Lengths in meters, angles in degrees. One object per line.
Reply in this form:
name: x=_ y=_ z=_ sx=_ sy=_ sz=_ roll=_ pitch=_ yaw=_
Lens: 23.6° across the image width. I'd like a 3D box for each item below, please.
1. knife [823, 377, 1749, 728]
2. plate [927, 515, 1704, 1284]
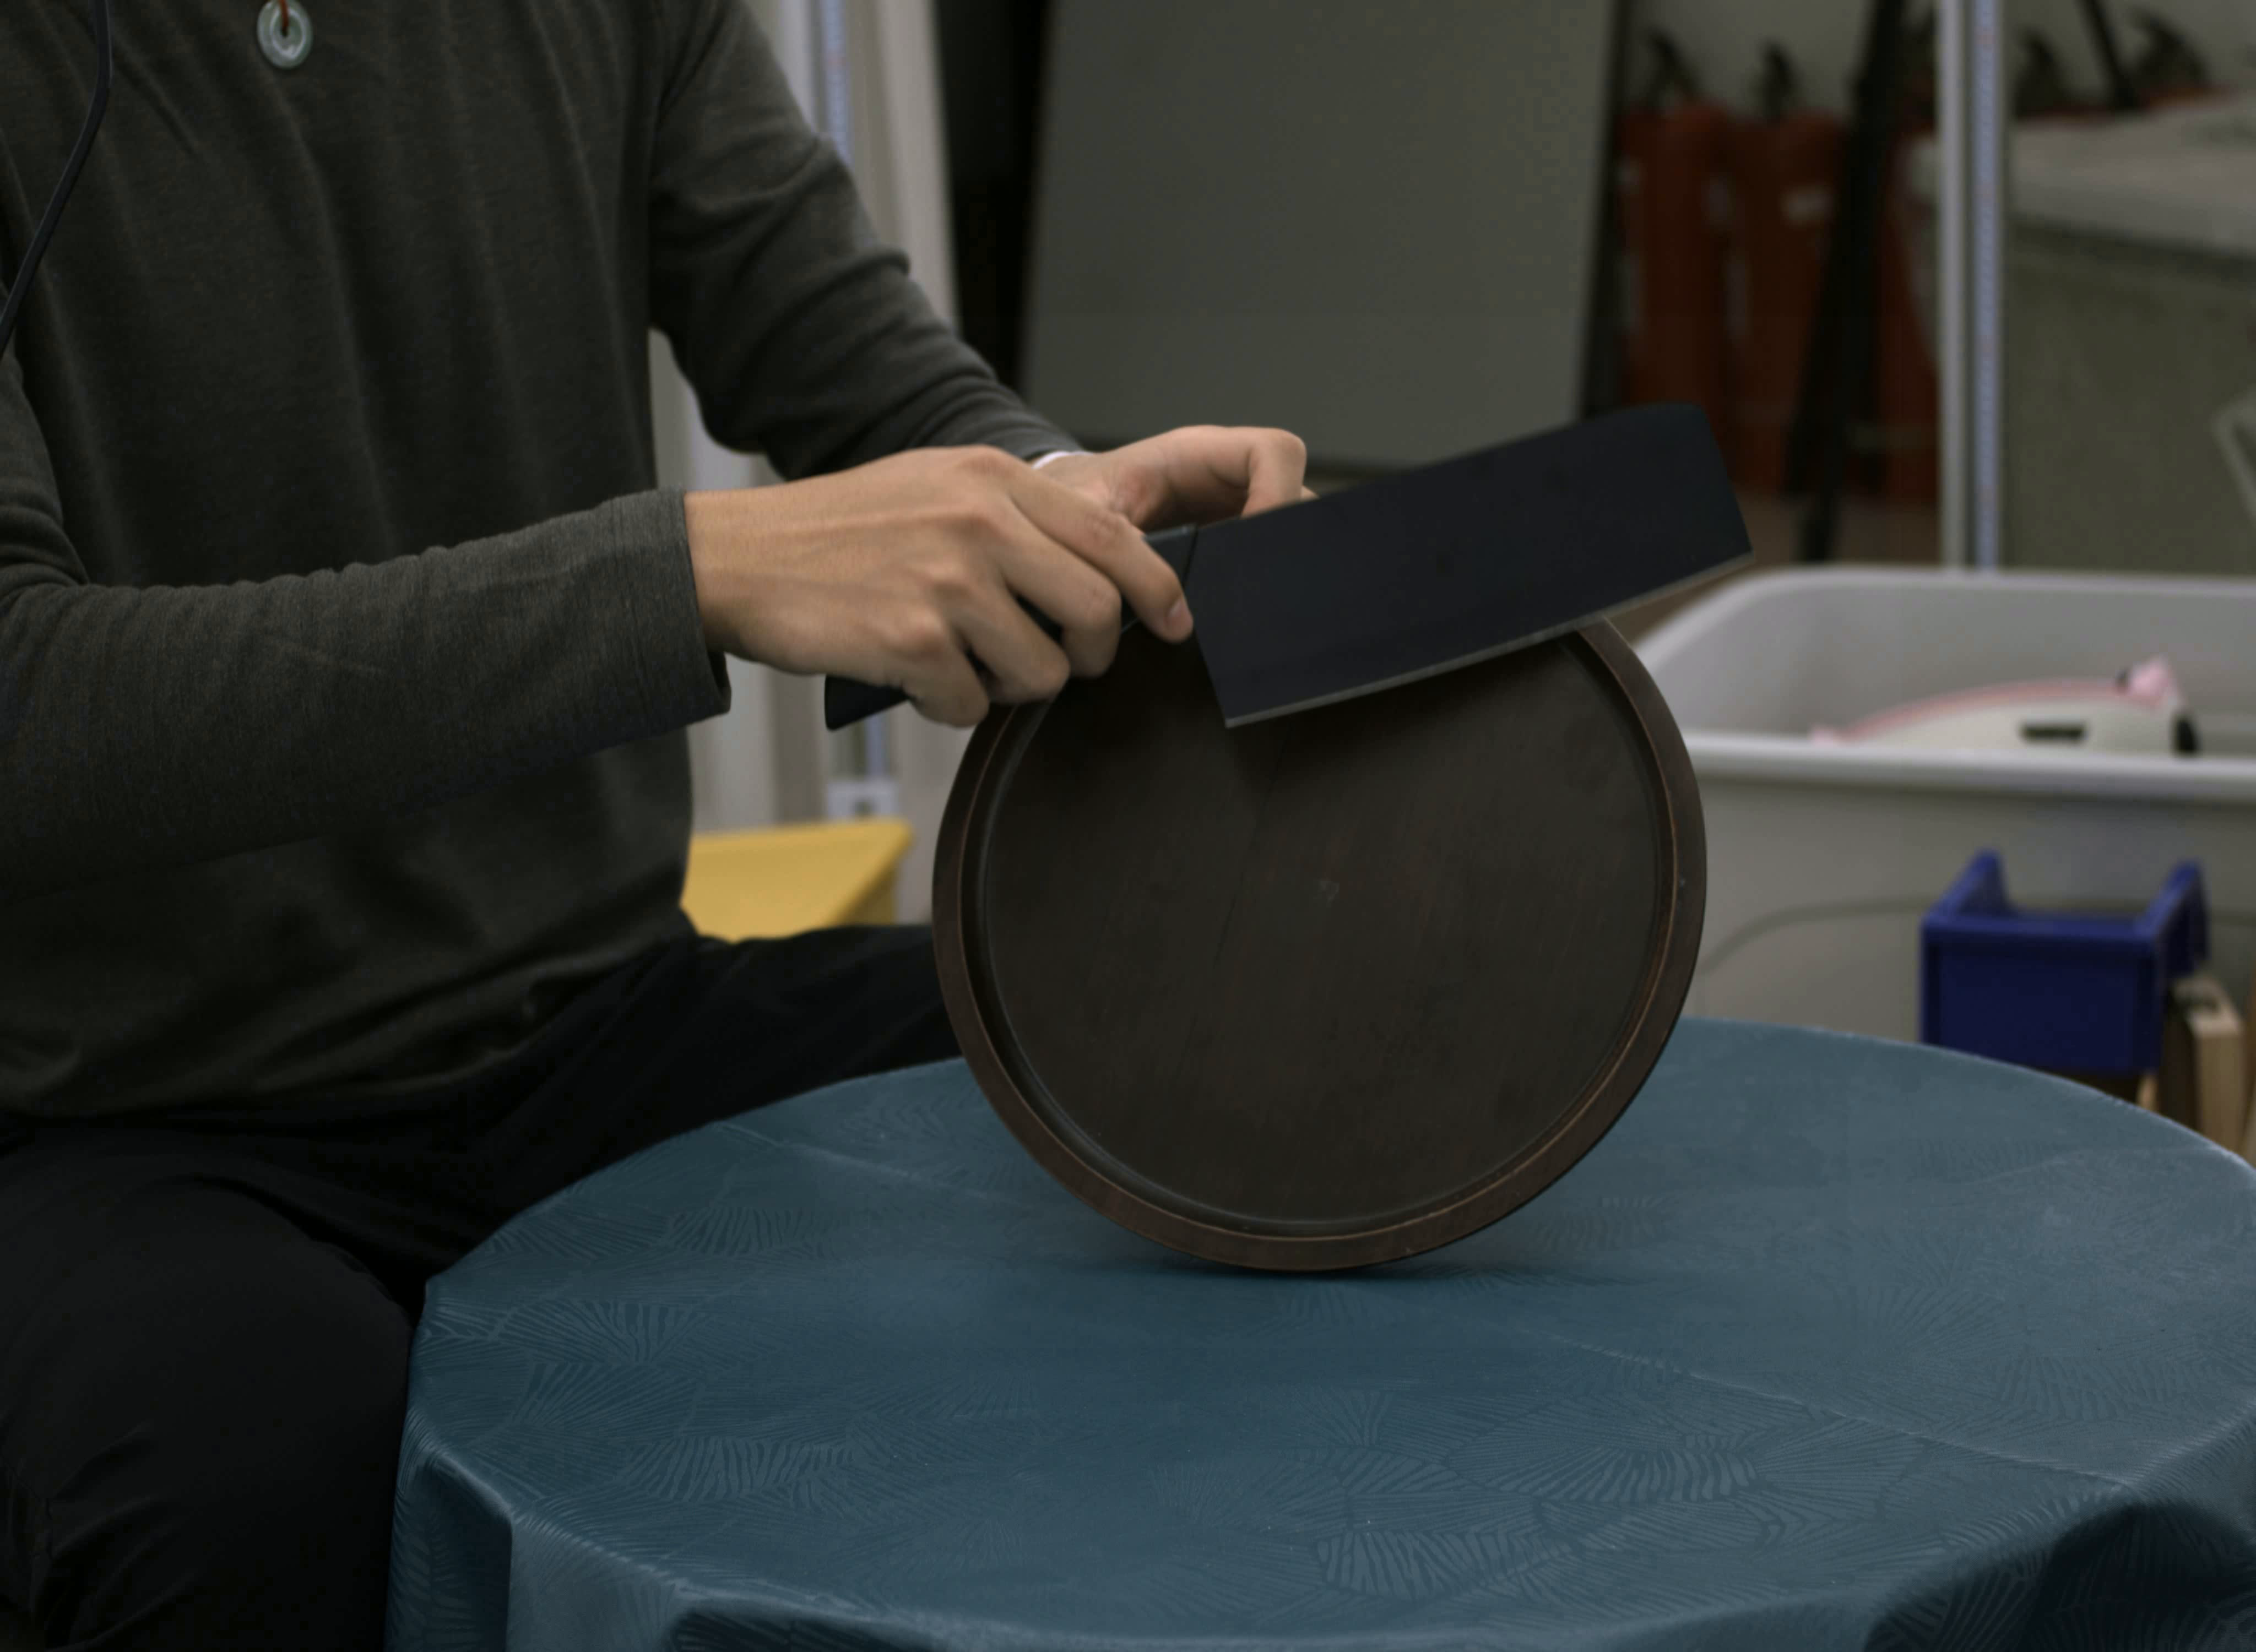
knife: x=0.048 y=-0.076 z=1.705 sx=0.298 sy=0.082 sz=0.021 roll=-12 pitch=-17 yaw=-3
plate: x=0.059 y=0.020 z=1.714 sx=0.253 sy=0.258 sz=0.029 roll=0 pitch=-14 yaw=14
